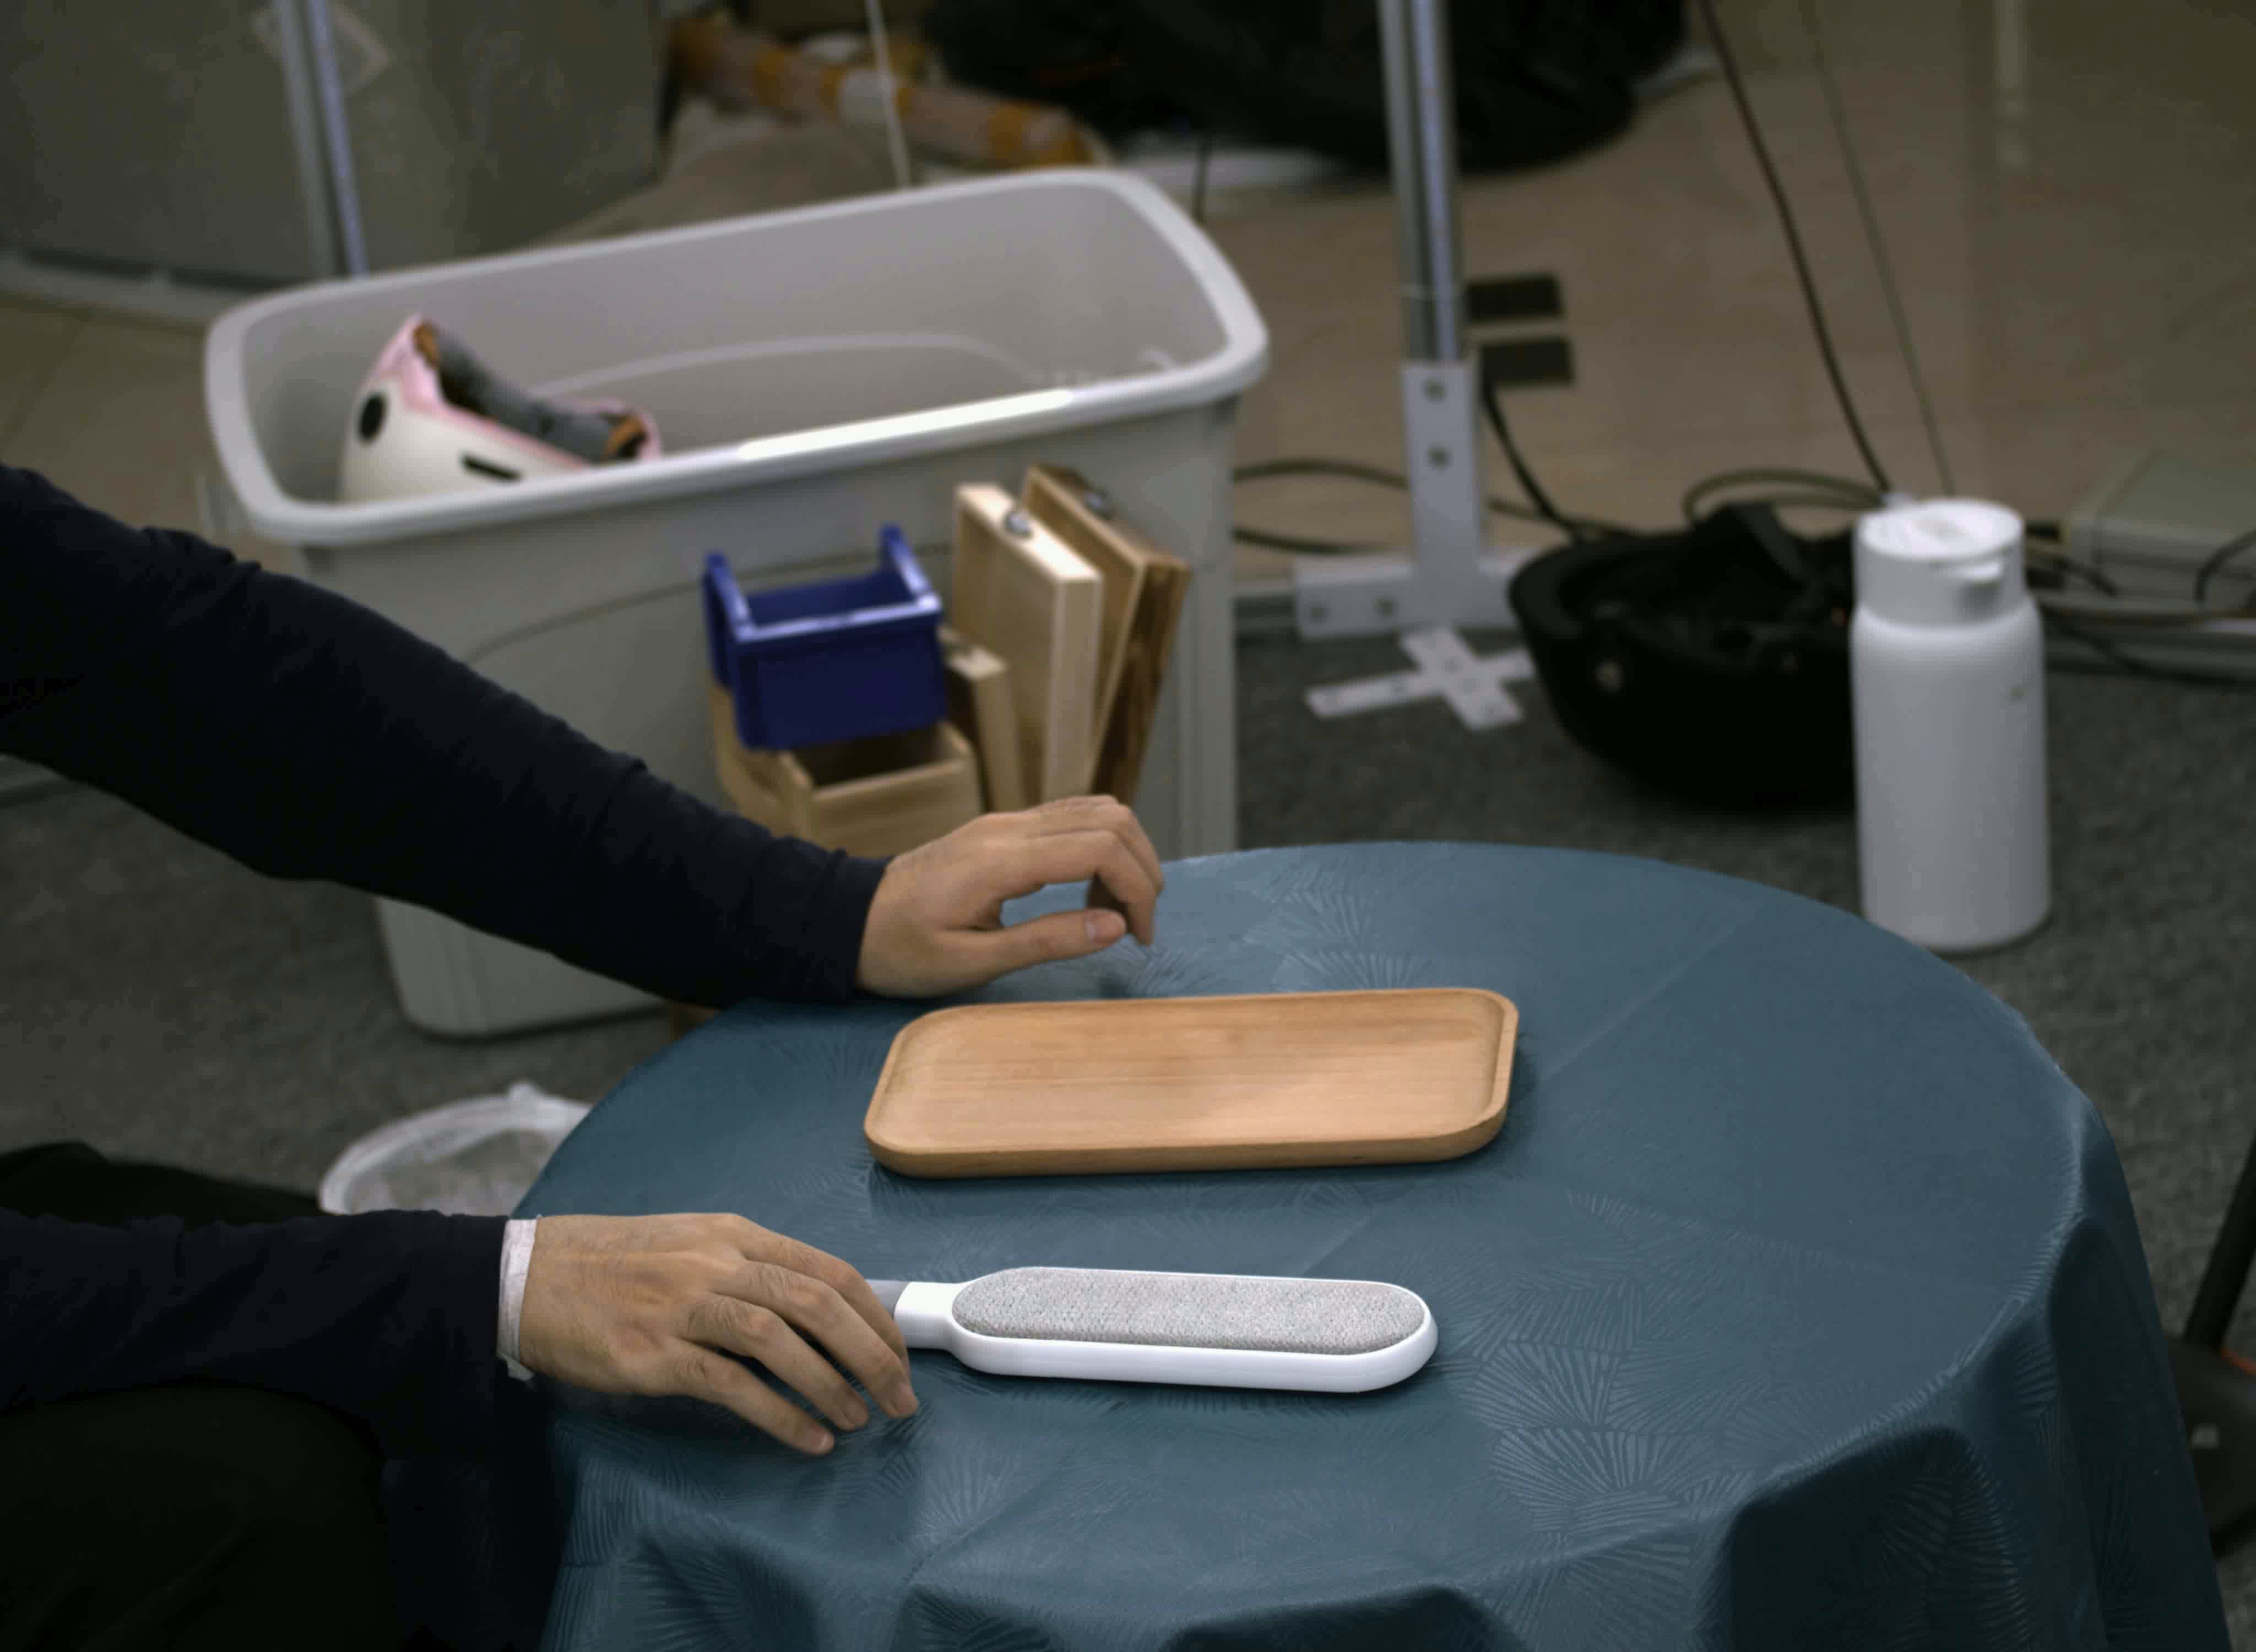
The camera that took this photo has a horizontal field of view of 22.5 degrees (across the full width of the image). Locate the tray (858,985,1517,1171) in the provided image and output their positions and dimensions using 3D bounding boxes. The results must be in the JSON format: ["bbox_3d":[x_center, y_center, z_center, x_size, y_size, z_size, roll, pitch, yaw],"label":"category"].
[{"bbox_3d":[0.024,0.099,2.212,0.250,0.023,0.129,-2,23,11],"label":"tray"}]

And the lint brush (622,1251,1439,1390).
[{"bbox_3d":[-0.039,0.175,2.051,0.308,0.021,0.059,2,31,18],"label":"lint brush"}]
